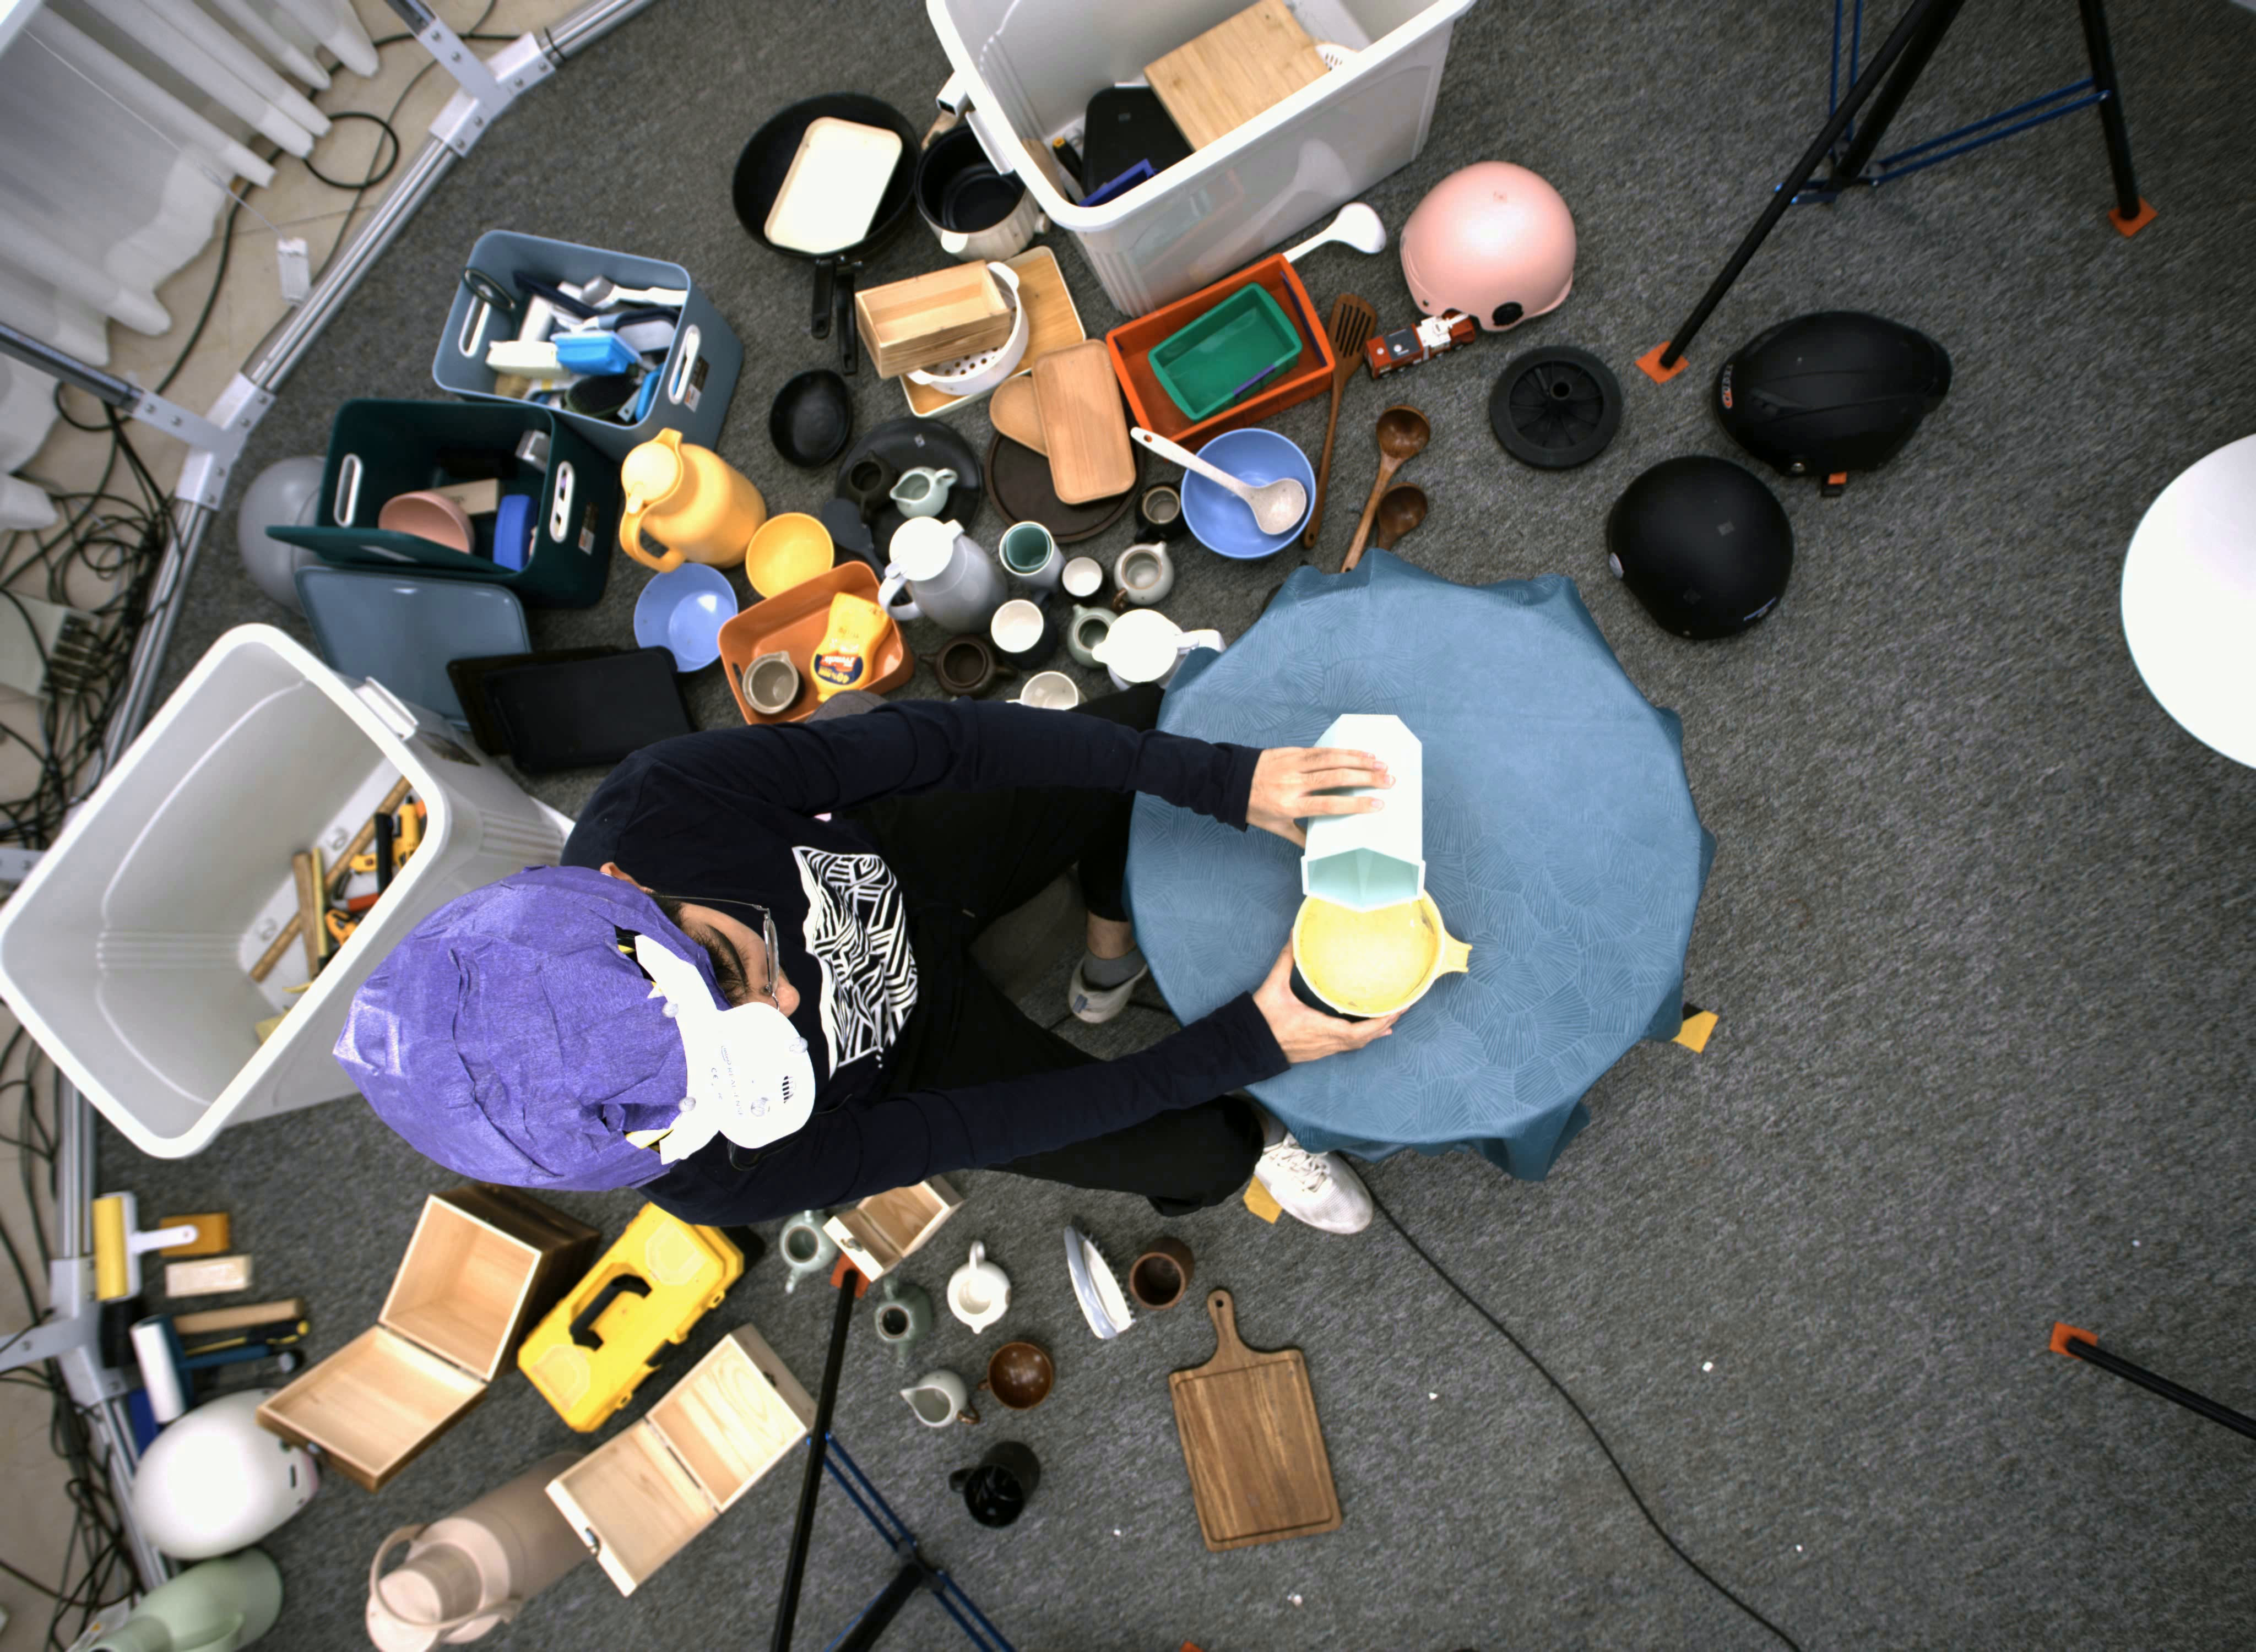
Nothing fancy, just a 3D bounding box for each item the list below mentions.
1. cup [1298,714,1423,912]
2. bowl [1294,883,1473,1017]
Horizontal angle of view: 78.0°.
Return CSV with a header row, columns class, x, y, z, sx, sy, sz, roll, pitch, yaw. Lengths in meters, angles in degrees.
class,x,y,z,sx,sy,sz,roll,pitch,yaw
cup,0.231,-0.019,1.341,0.115,0.133,0.159,2,59,13
bowl,0.263,0.120,1.424,0.180,0.074,0.152,6,87,13
